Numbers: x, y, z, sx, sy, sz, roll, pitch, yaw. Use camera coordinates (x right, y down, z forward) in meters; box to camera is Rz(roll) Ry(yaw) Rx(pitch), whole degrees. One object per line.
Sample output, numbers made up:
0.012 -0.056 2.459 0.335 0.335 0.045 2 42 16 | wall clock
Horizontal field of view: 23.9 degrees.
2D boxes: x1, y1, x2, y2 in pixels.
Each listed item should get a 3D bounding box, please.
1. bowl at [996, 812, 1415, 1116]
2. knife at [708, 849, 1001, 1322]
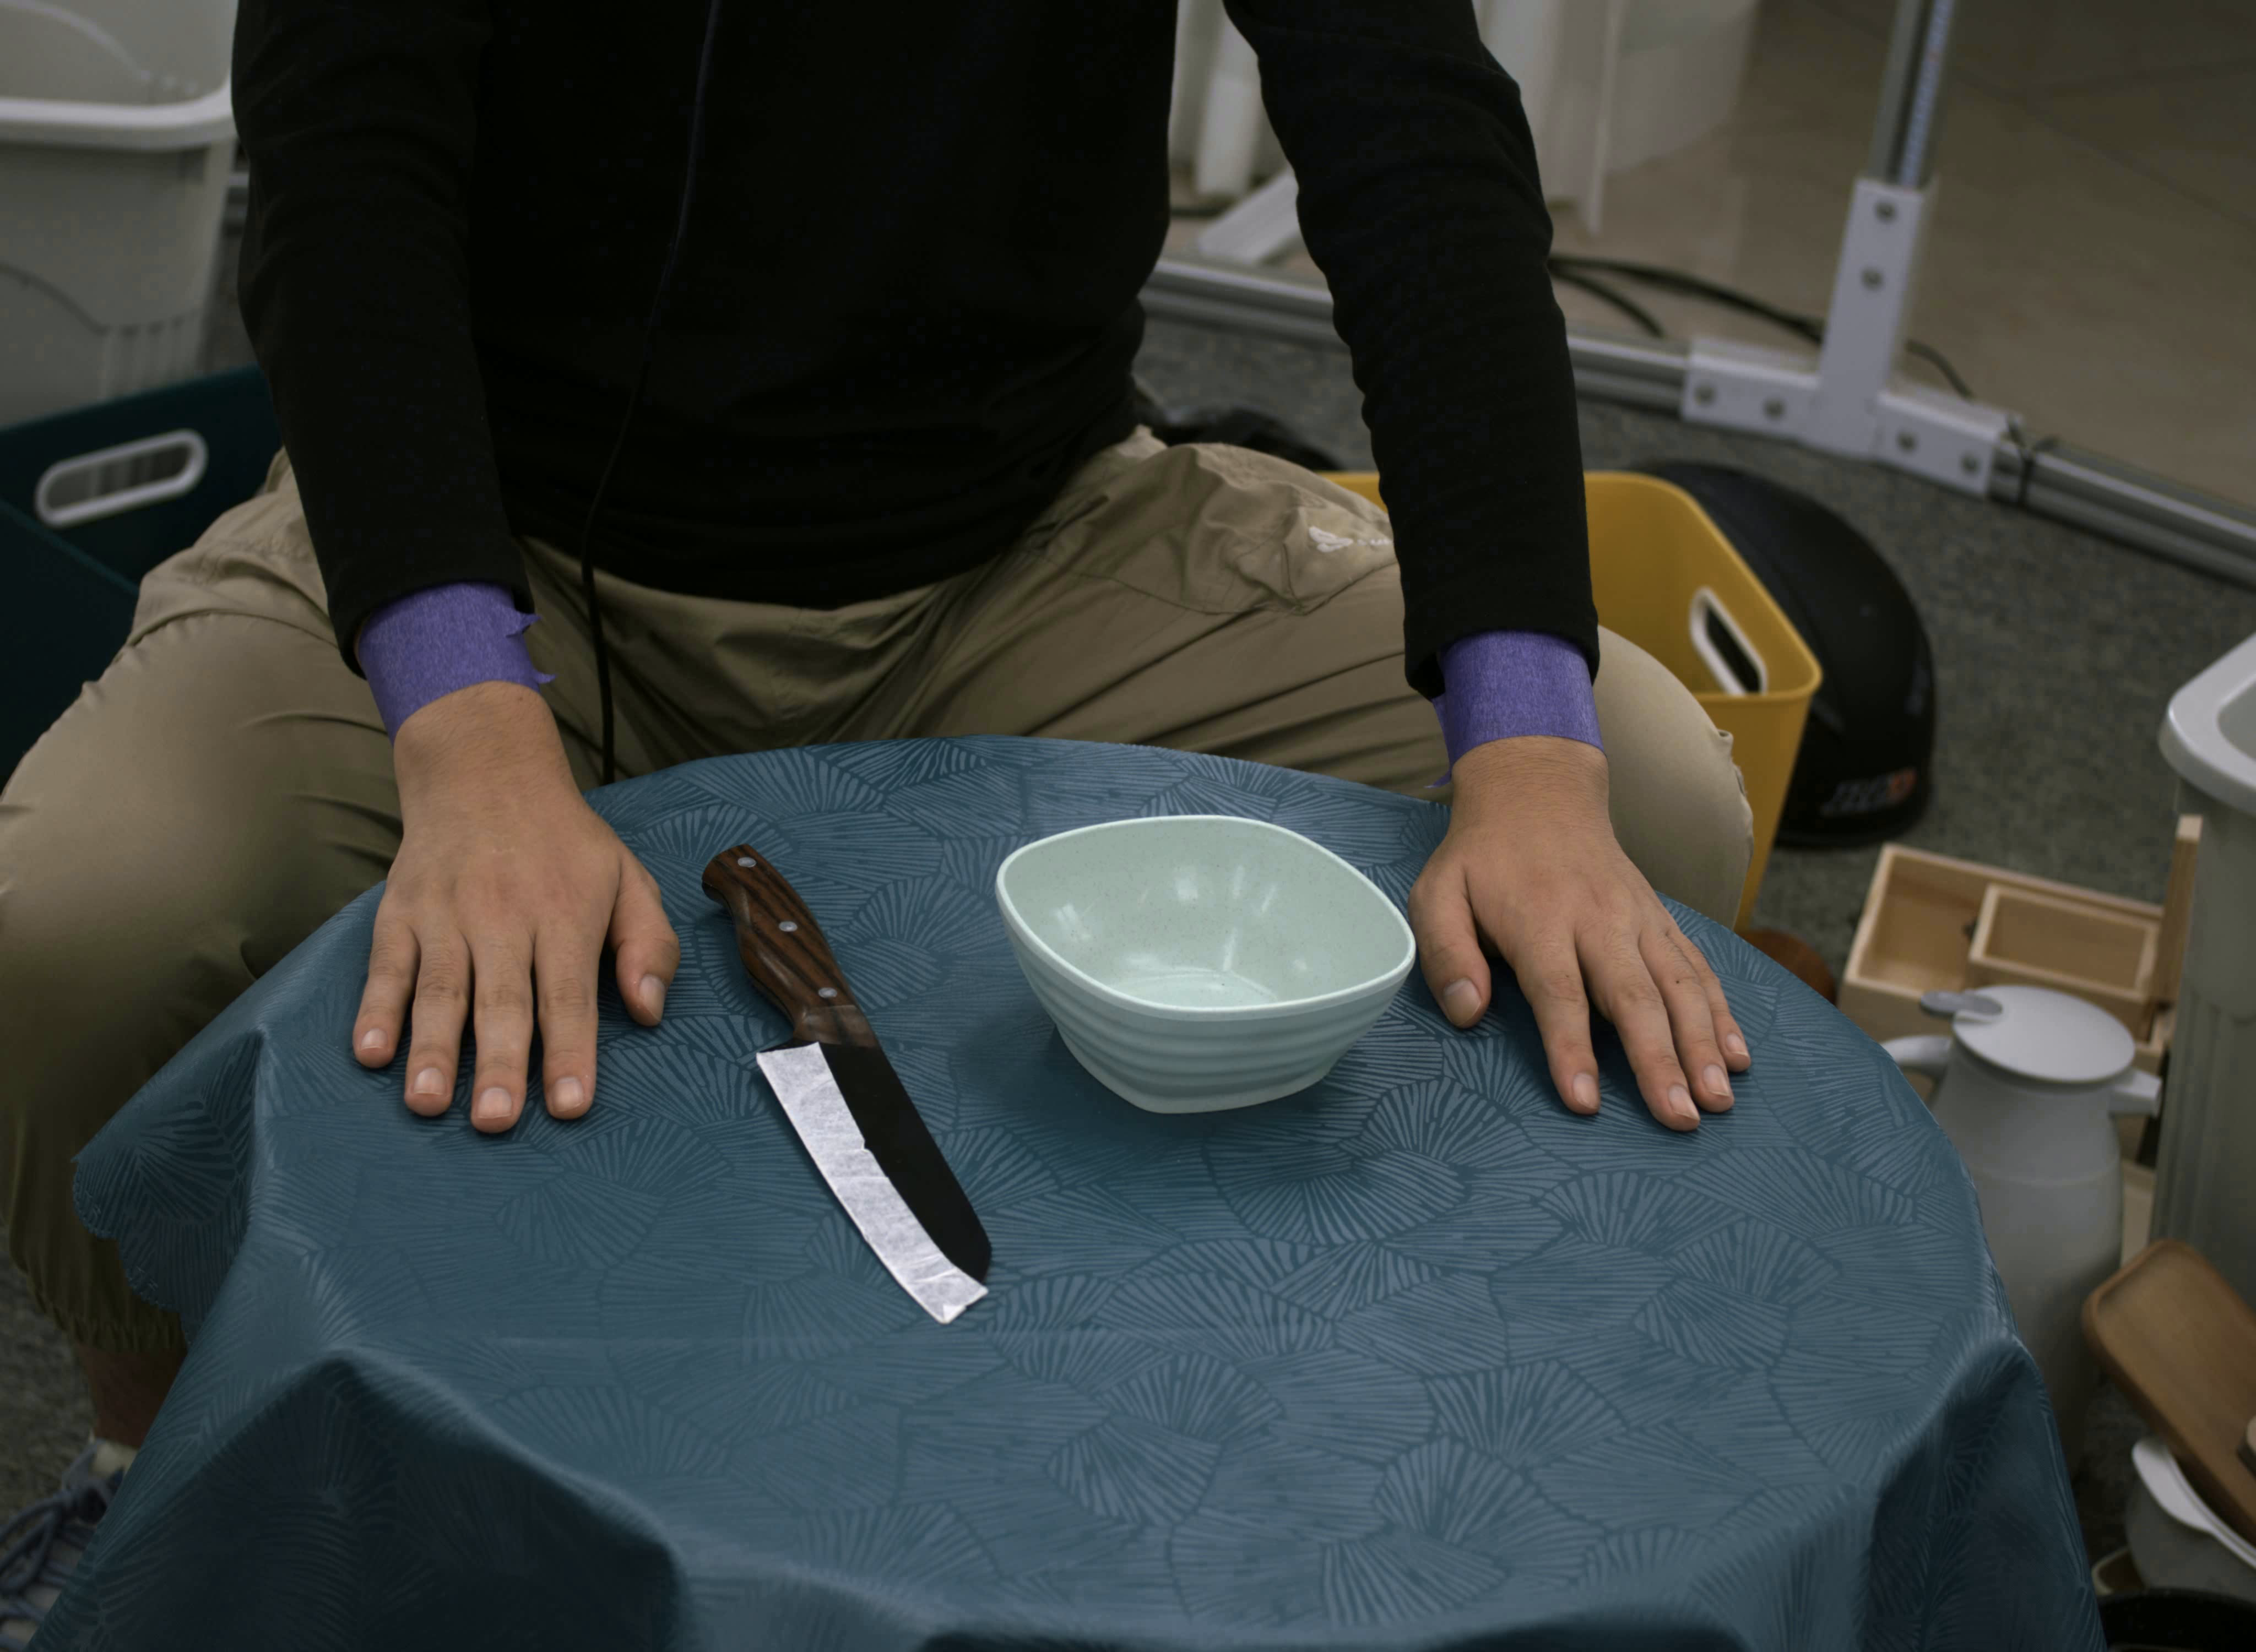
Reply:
0.024 0.055 1.885 0.151 0.058 0.152 5 28 -3 | bowl
-0.099 0.088 1.838 0.050 0.020 0.292 -7 32 -16 | knife
